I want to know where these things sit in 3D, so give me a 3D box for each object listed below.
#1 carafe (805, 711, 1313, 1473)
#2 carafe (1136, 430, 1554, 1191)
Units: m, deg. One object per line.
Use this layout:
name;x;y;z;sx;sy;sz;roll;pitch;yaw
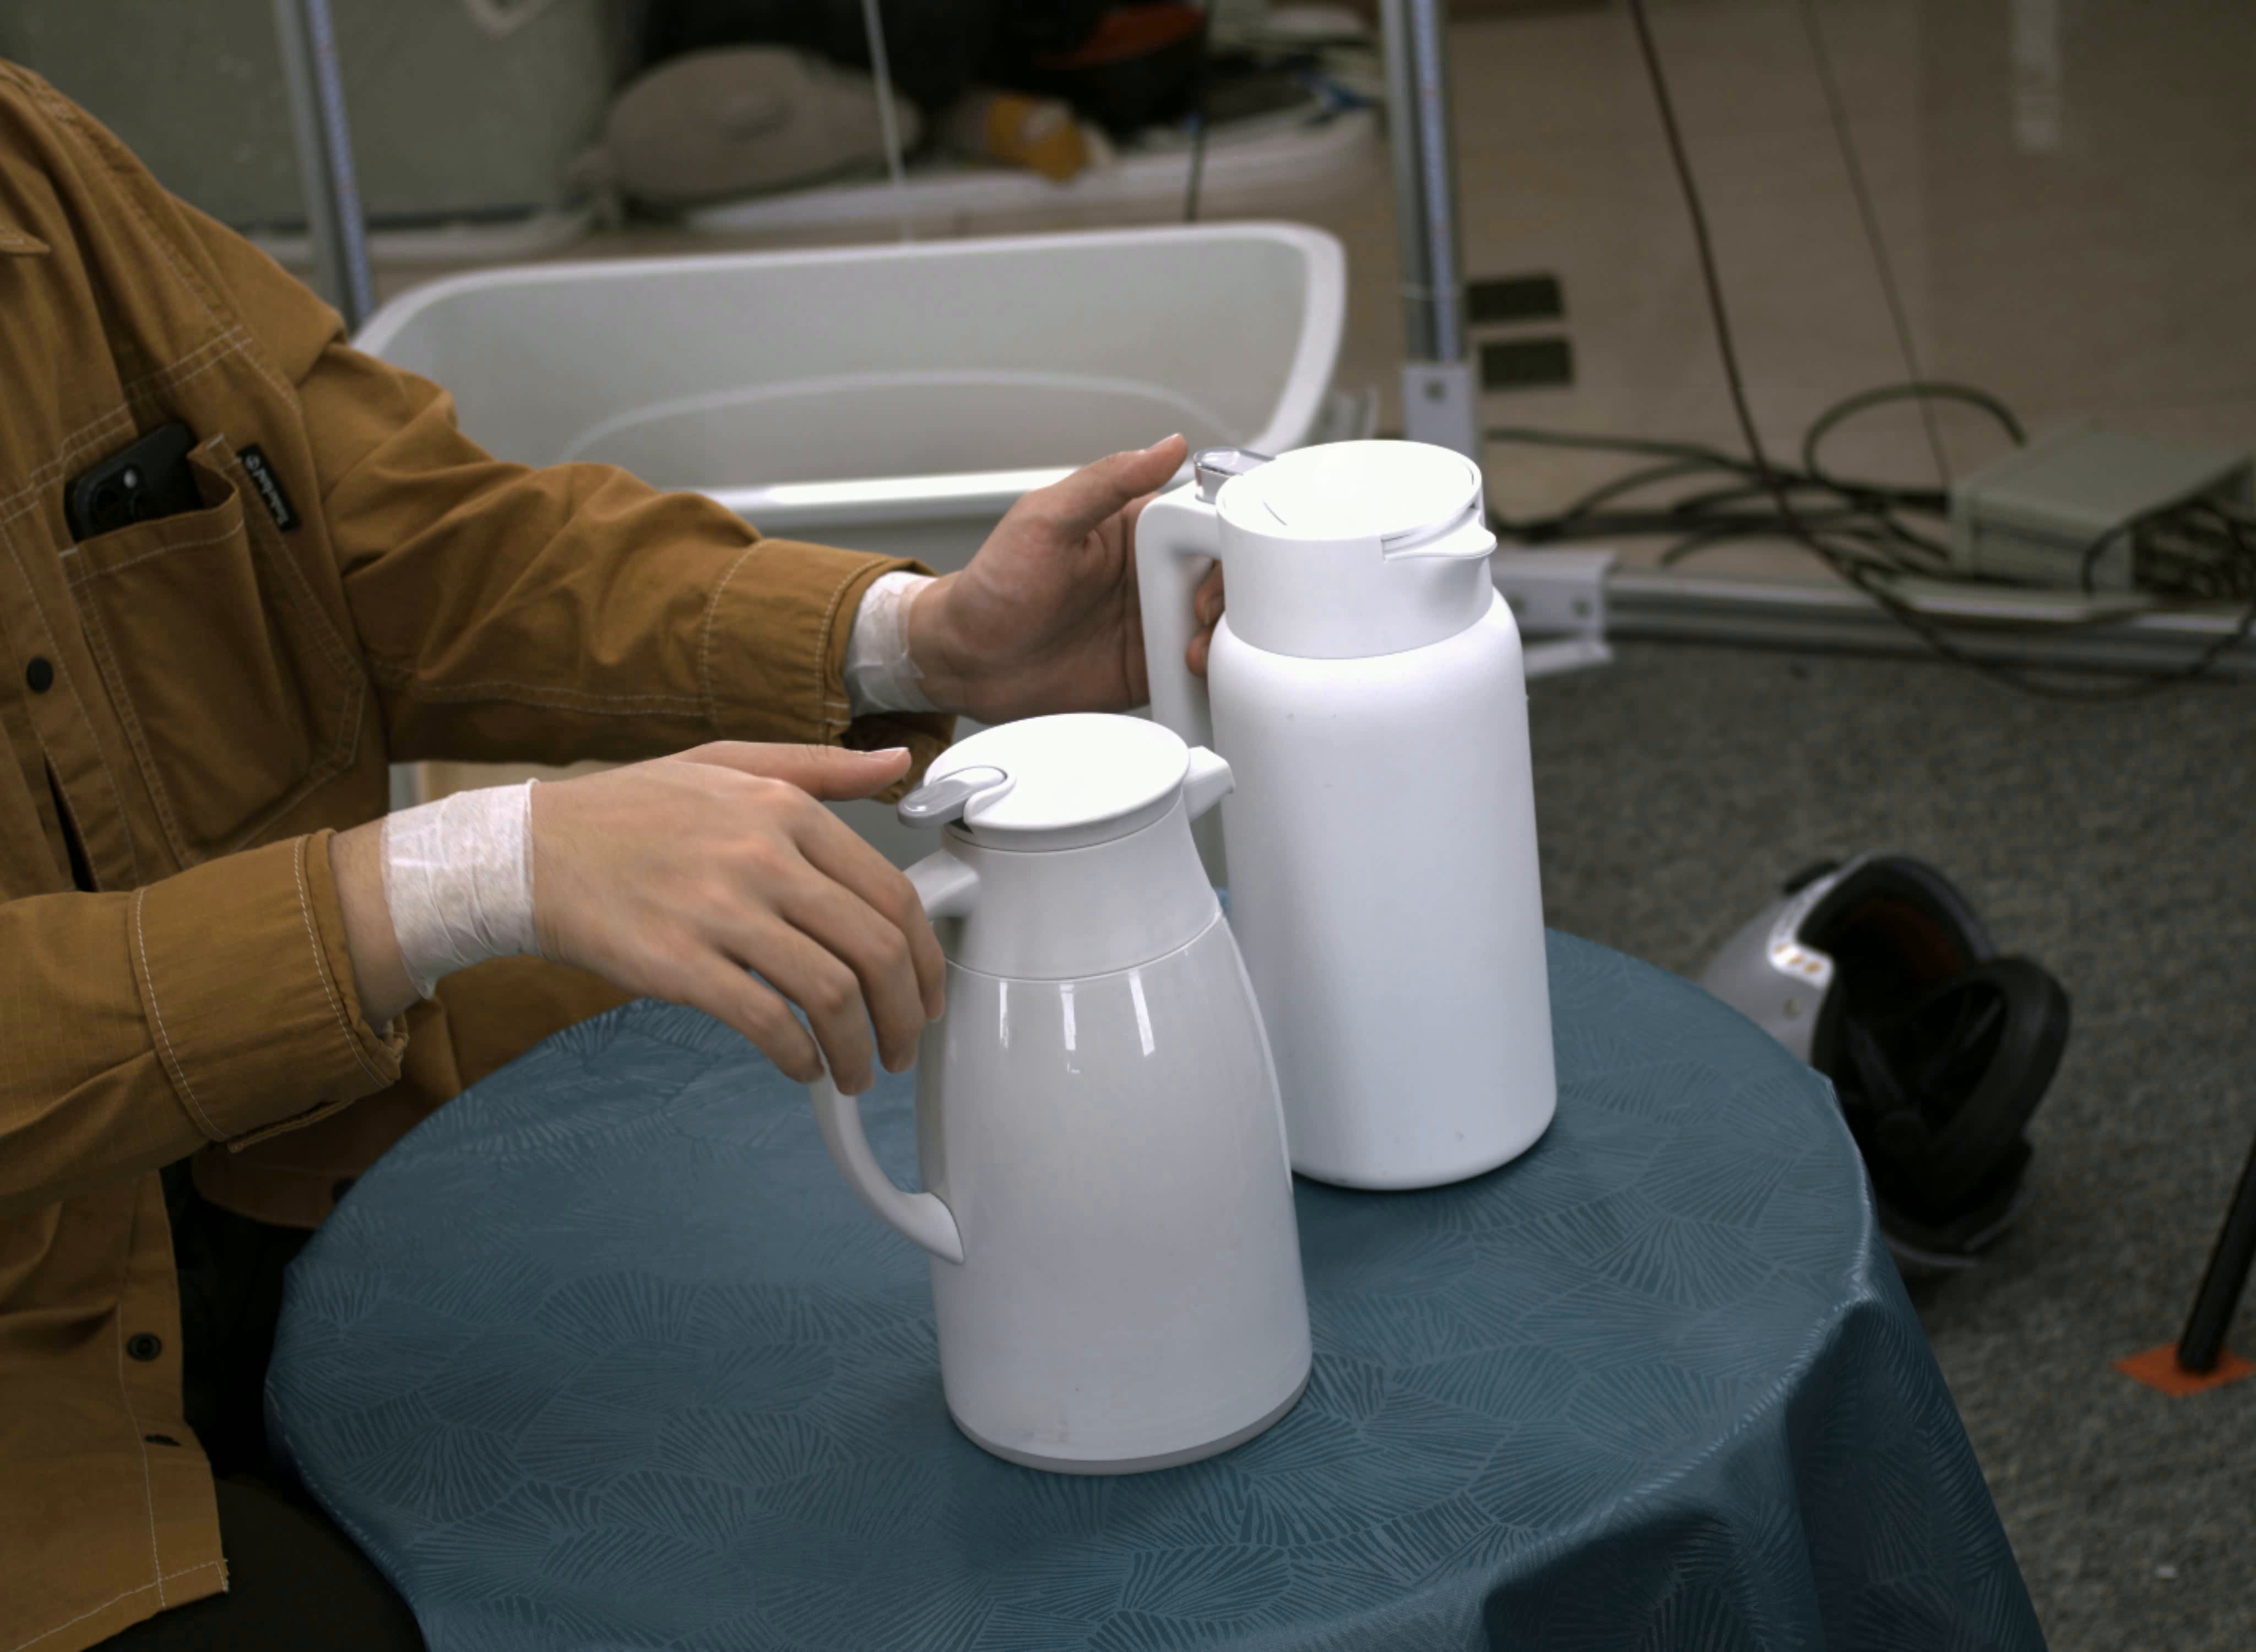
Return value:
carafe;-0.029;0.091;1.961;0.167;0.252;0.131;-20;28;-23
carafe;0.080;-0.008;2.124;0.171;0.273;0.122;18;37;41
